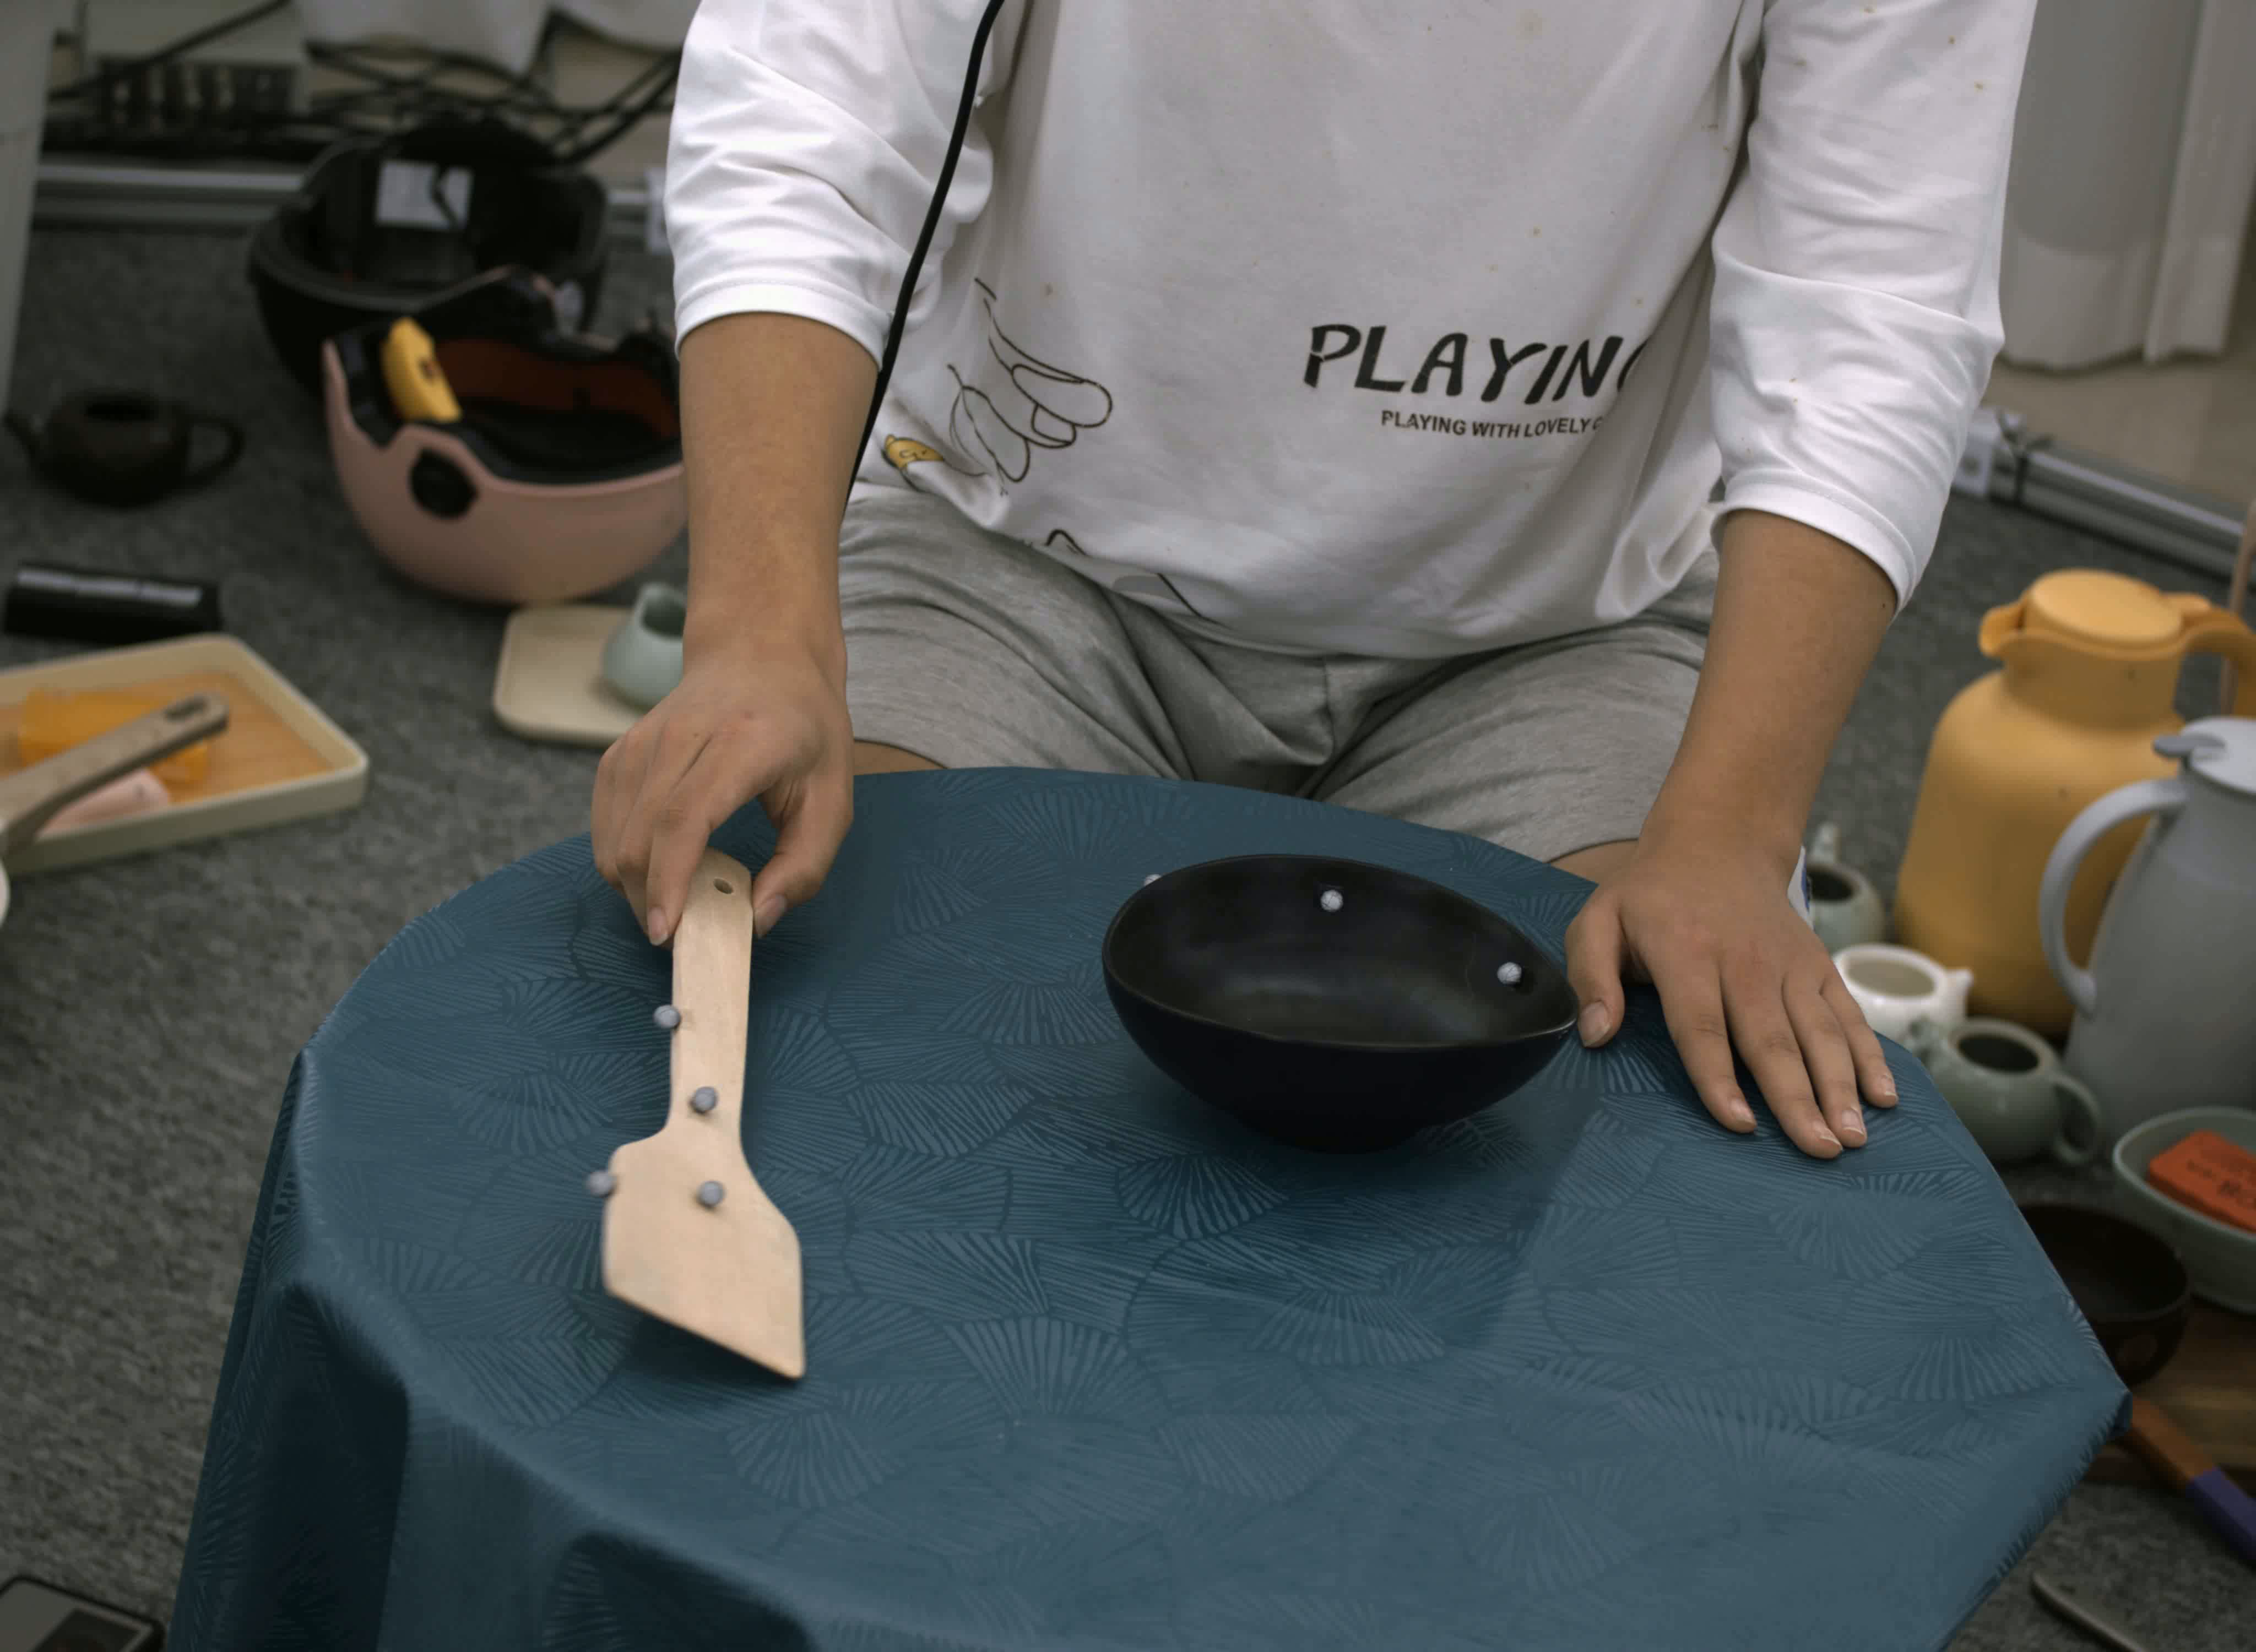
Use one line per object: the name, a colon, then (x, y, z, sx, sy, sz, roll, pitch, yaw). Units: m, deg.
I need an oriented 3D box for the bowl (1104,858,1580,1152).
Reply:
bowl: (0.071, 0.069, 1.860, 0.169, 0.066, 0.138, 3, 26, -12)

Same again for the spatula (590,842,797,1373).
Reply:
spatula: (-0.142, 0.086, 1.794, 0.072, 0.010, 0.295, 24, 28, -16)
